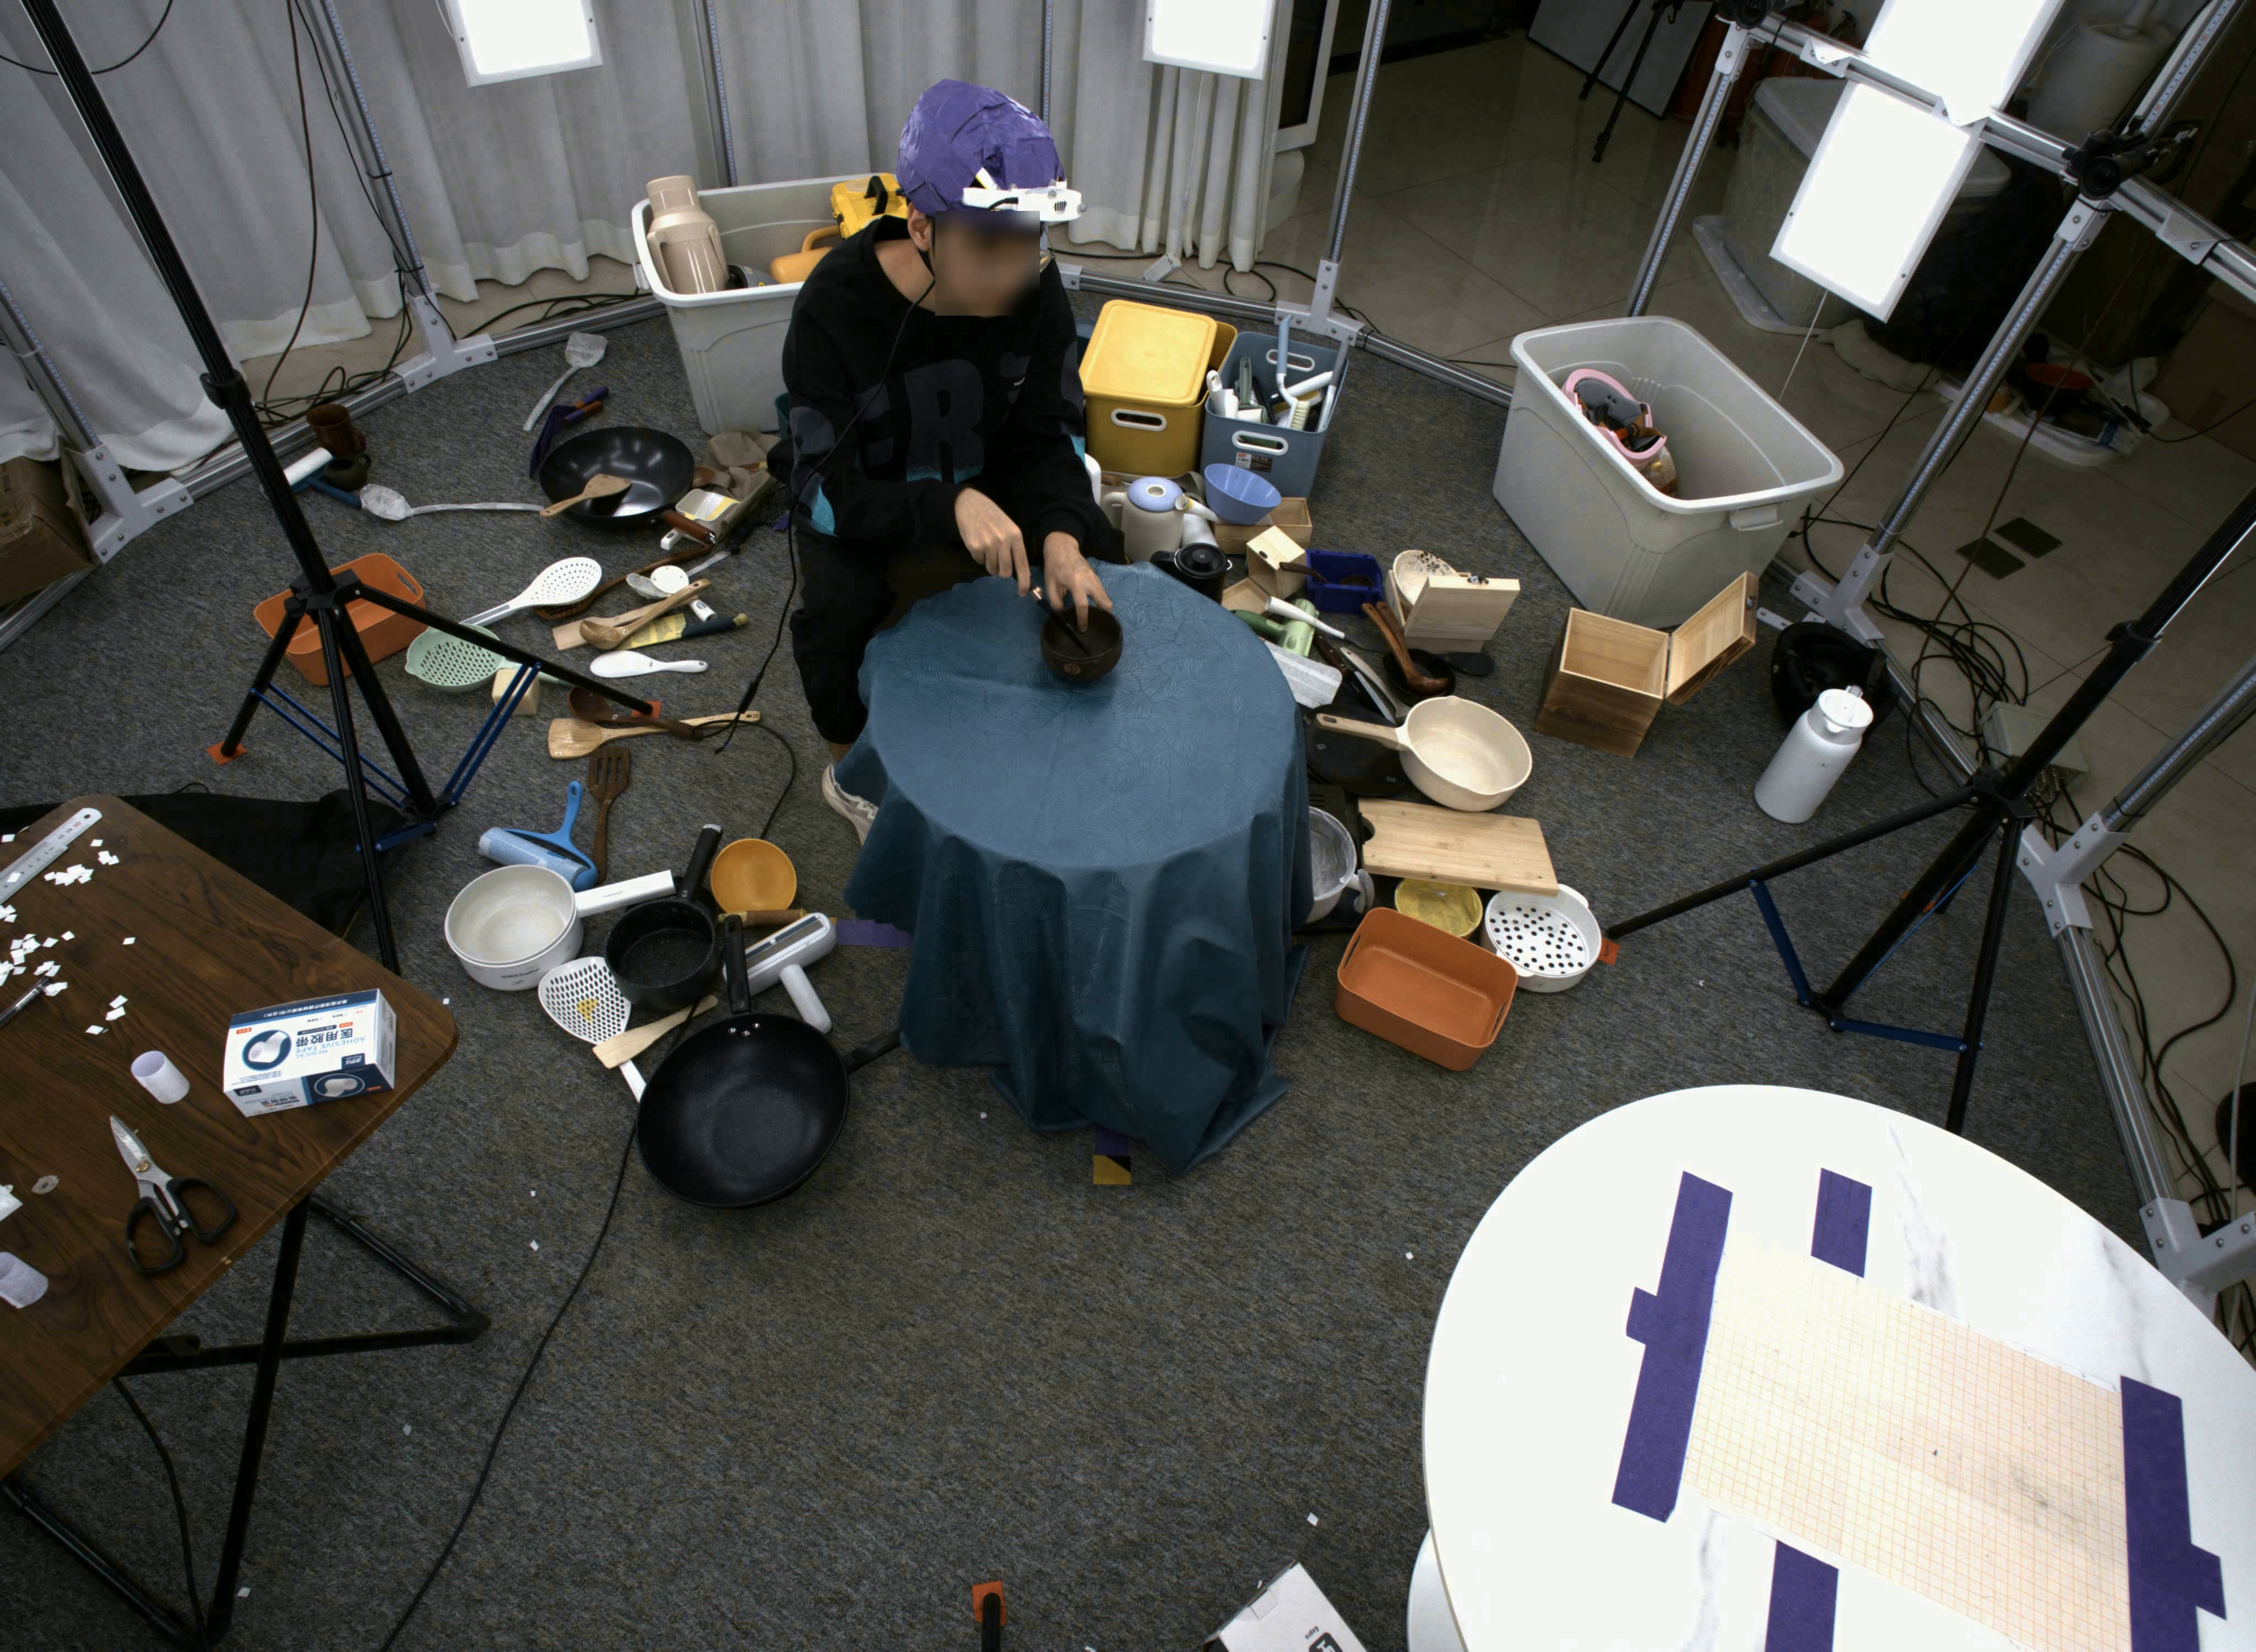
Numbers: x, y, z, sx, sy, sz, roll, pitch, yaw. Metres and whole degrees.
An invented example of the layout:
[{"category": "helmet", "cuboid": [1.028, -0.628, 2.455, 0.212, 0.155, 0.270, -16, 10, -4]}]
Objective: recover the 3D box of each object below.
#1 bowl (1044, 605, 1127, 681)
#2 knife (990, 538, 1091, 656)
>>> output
[{"category": "bowl", "cuboid": [-0.061, -0.253, 1.835, 0.118, 0.068, 0.121, 1, 48, -1]}, {"category": "knife", "cuboid": [-0.117, -0.316, 1.815, 0.223, 0.026, 0.017, 48, 52, -17]}]
